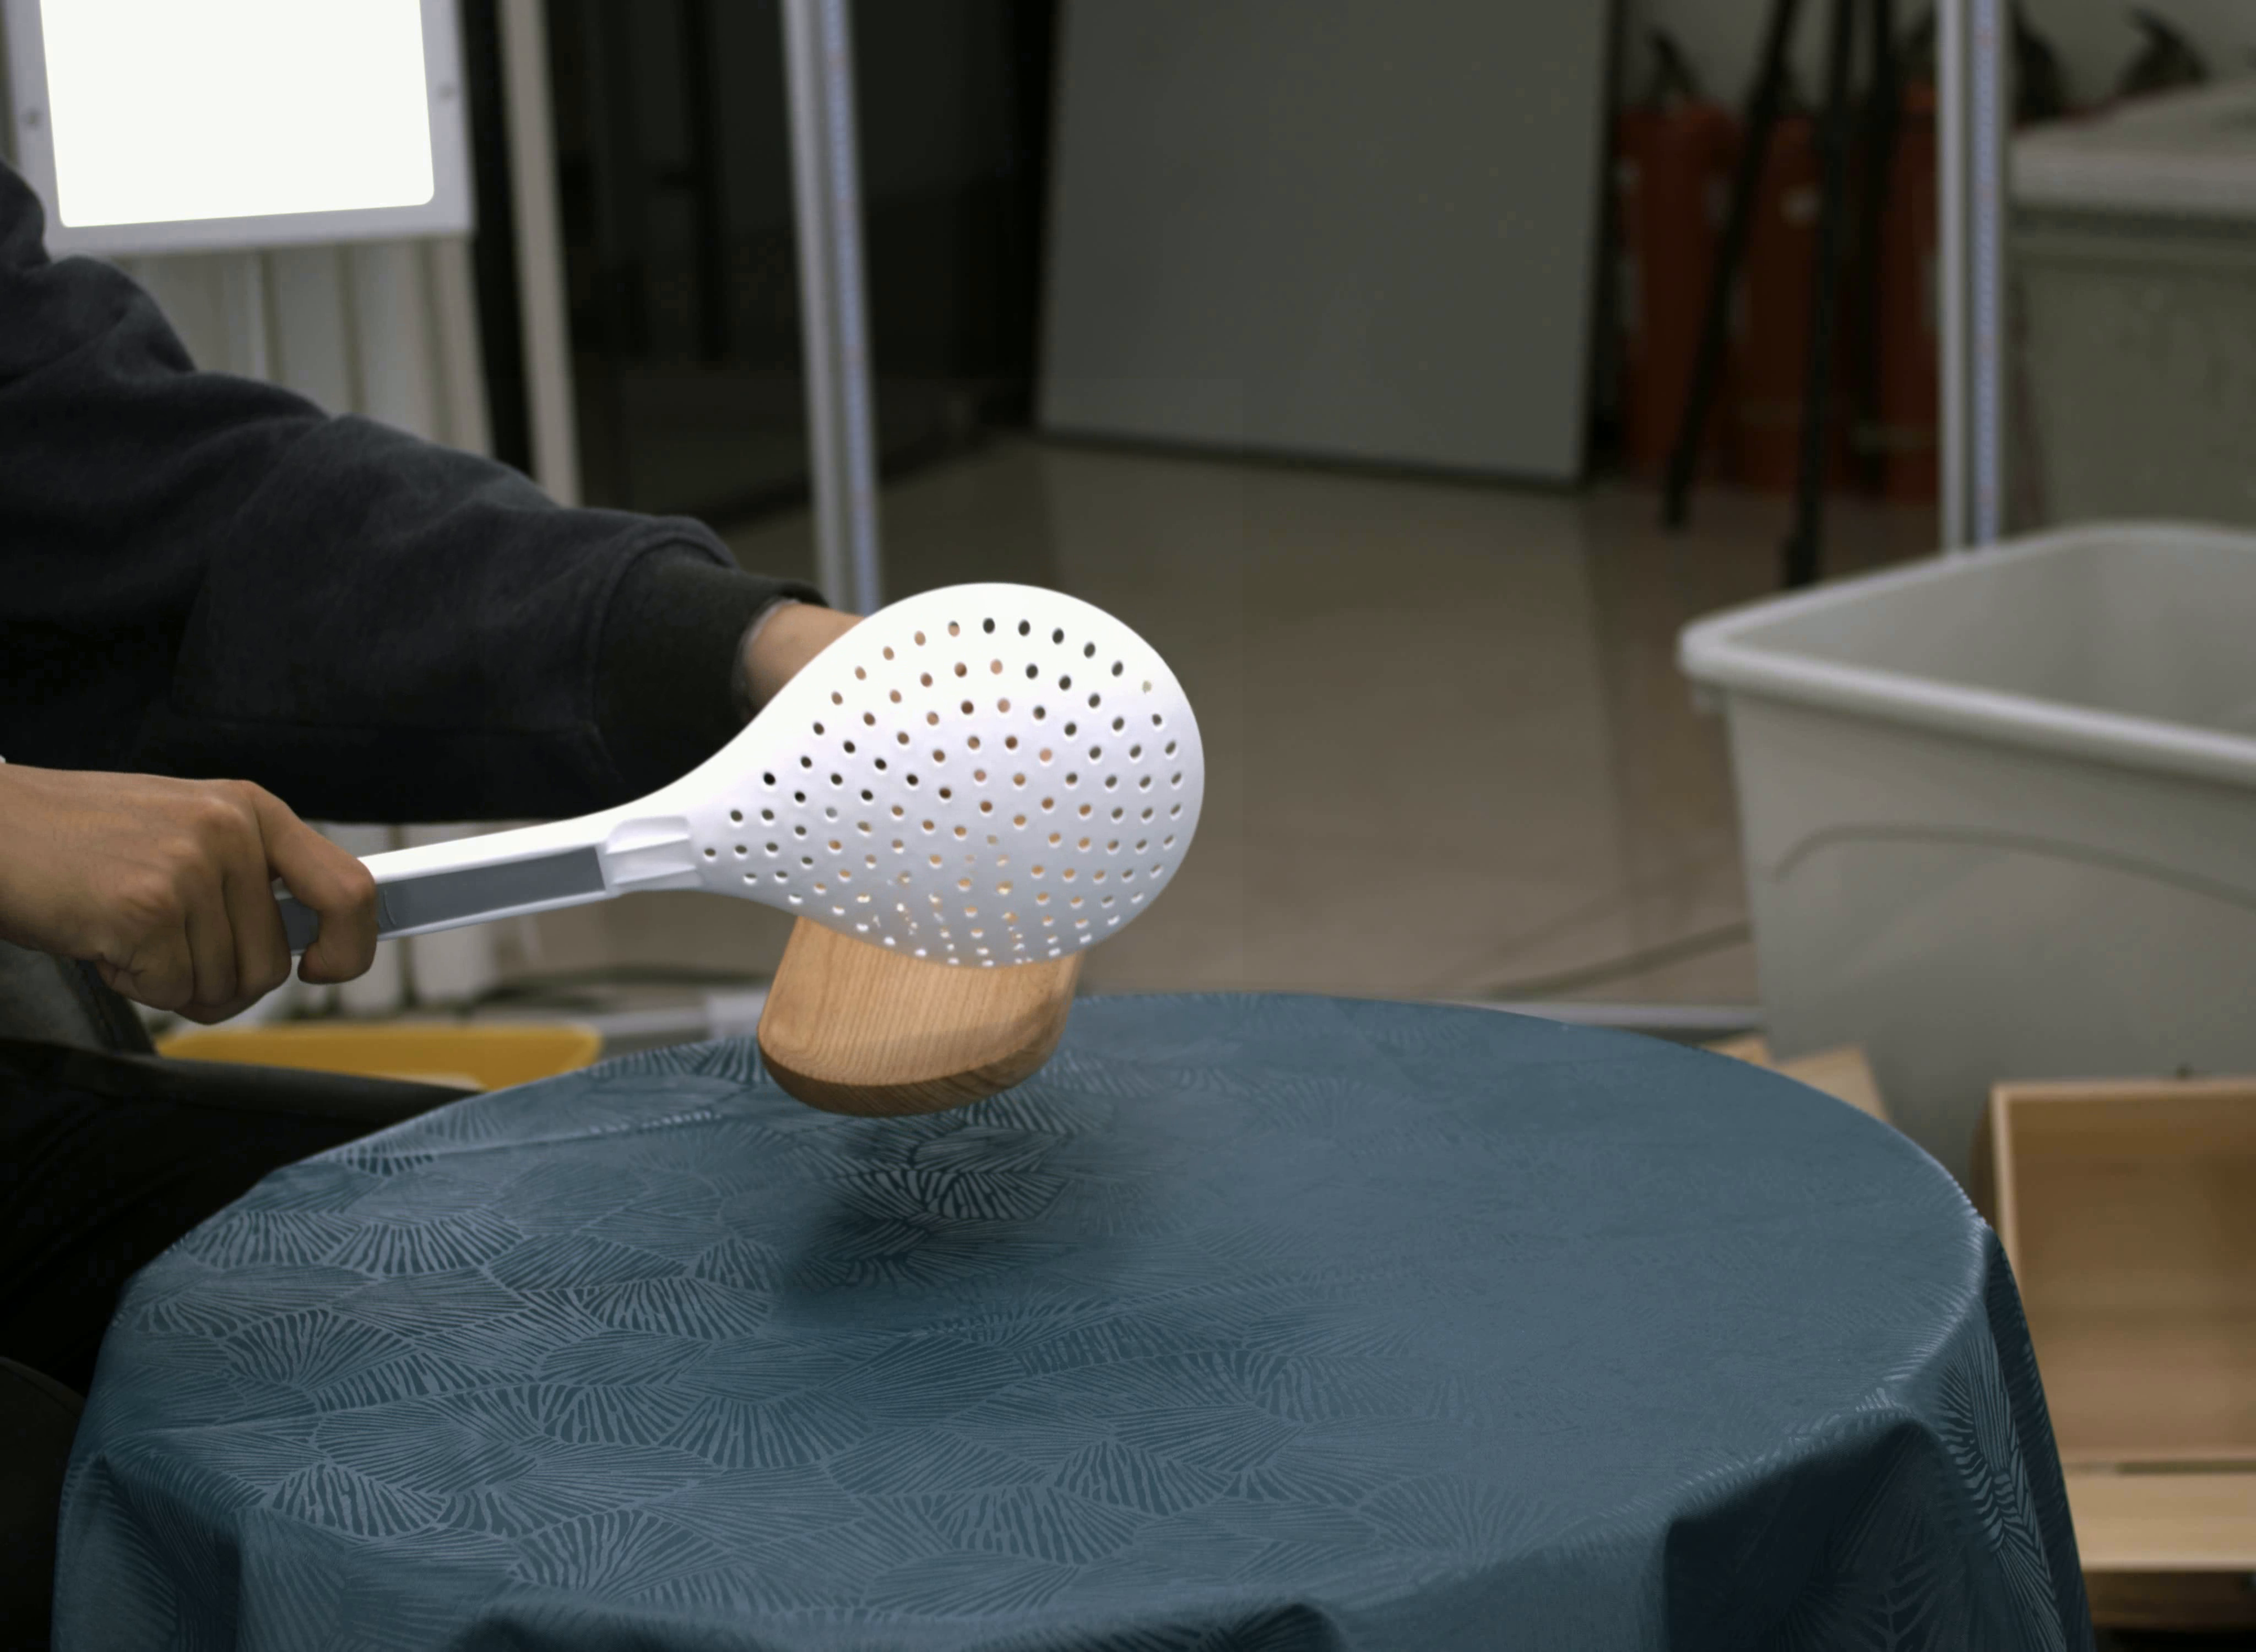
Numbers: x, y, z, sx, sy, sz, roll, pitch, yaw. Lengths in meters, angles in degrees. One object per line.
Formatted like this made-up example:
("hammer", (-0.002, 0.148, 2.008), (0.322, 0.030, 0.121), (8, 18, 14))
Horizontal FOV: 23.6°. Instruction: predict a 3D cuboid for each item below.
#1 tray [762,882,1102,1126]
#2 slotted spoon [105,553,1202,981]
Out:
("tray", (-0.060, 0.040, 1.778), (0.101, 0.020, 0.231), (-6, 25, 9))
("slotted spoon", (-0.148, 0.002, 1.686), (0.347, 0.137, 0.046), (-9, 24, 8))
